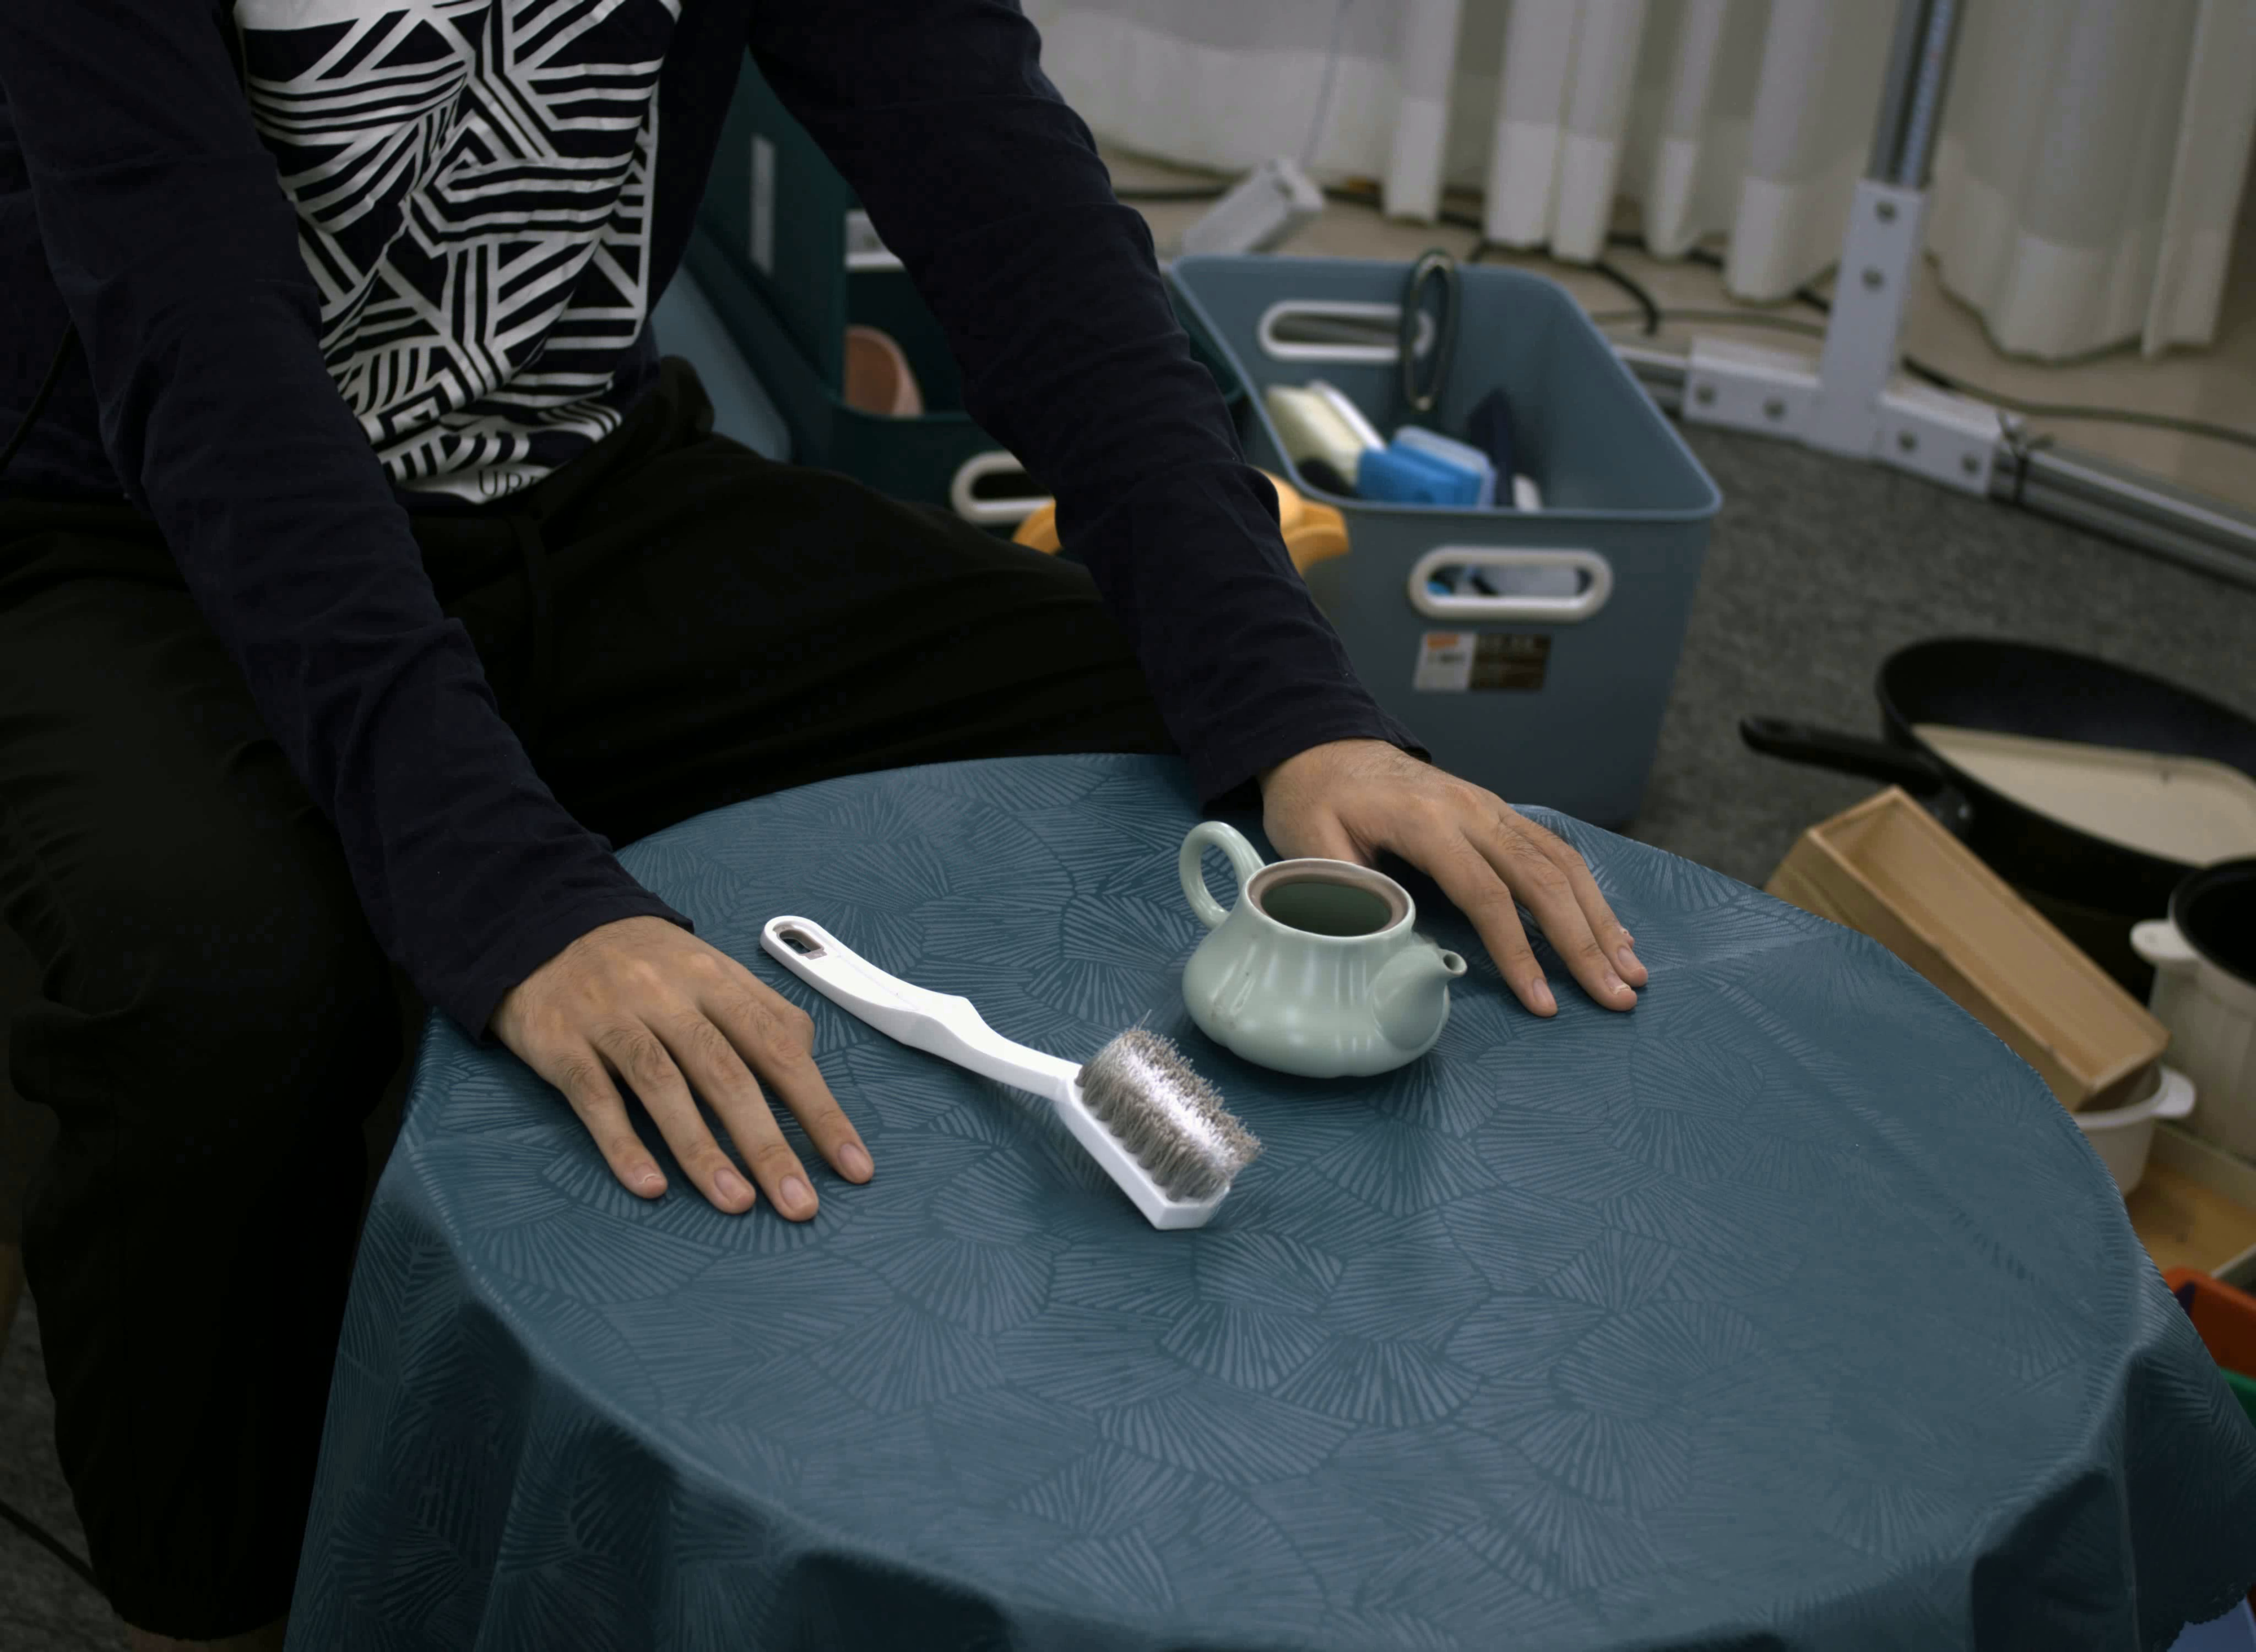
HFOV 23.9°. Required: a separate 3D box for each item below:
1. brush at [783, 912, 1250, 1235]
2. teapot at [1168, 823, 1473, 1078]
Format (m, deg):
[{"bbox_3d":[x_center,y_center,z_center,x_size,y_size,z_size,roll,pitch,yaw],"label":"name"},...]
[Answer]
[{"bbox_3d":[-0.044,0.069,1.853,0.034,0.050,0.246,-19,36,-33],"label":"brush"},{"bbox_3d":[0.066,0.047,1.906,0.138,0.061,0.096,28,37,35],"label":"teapot"}]
